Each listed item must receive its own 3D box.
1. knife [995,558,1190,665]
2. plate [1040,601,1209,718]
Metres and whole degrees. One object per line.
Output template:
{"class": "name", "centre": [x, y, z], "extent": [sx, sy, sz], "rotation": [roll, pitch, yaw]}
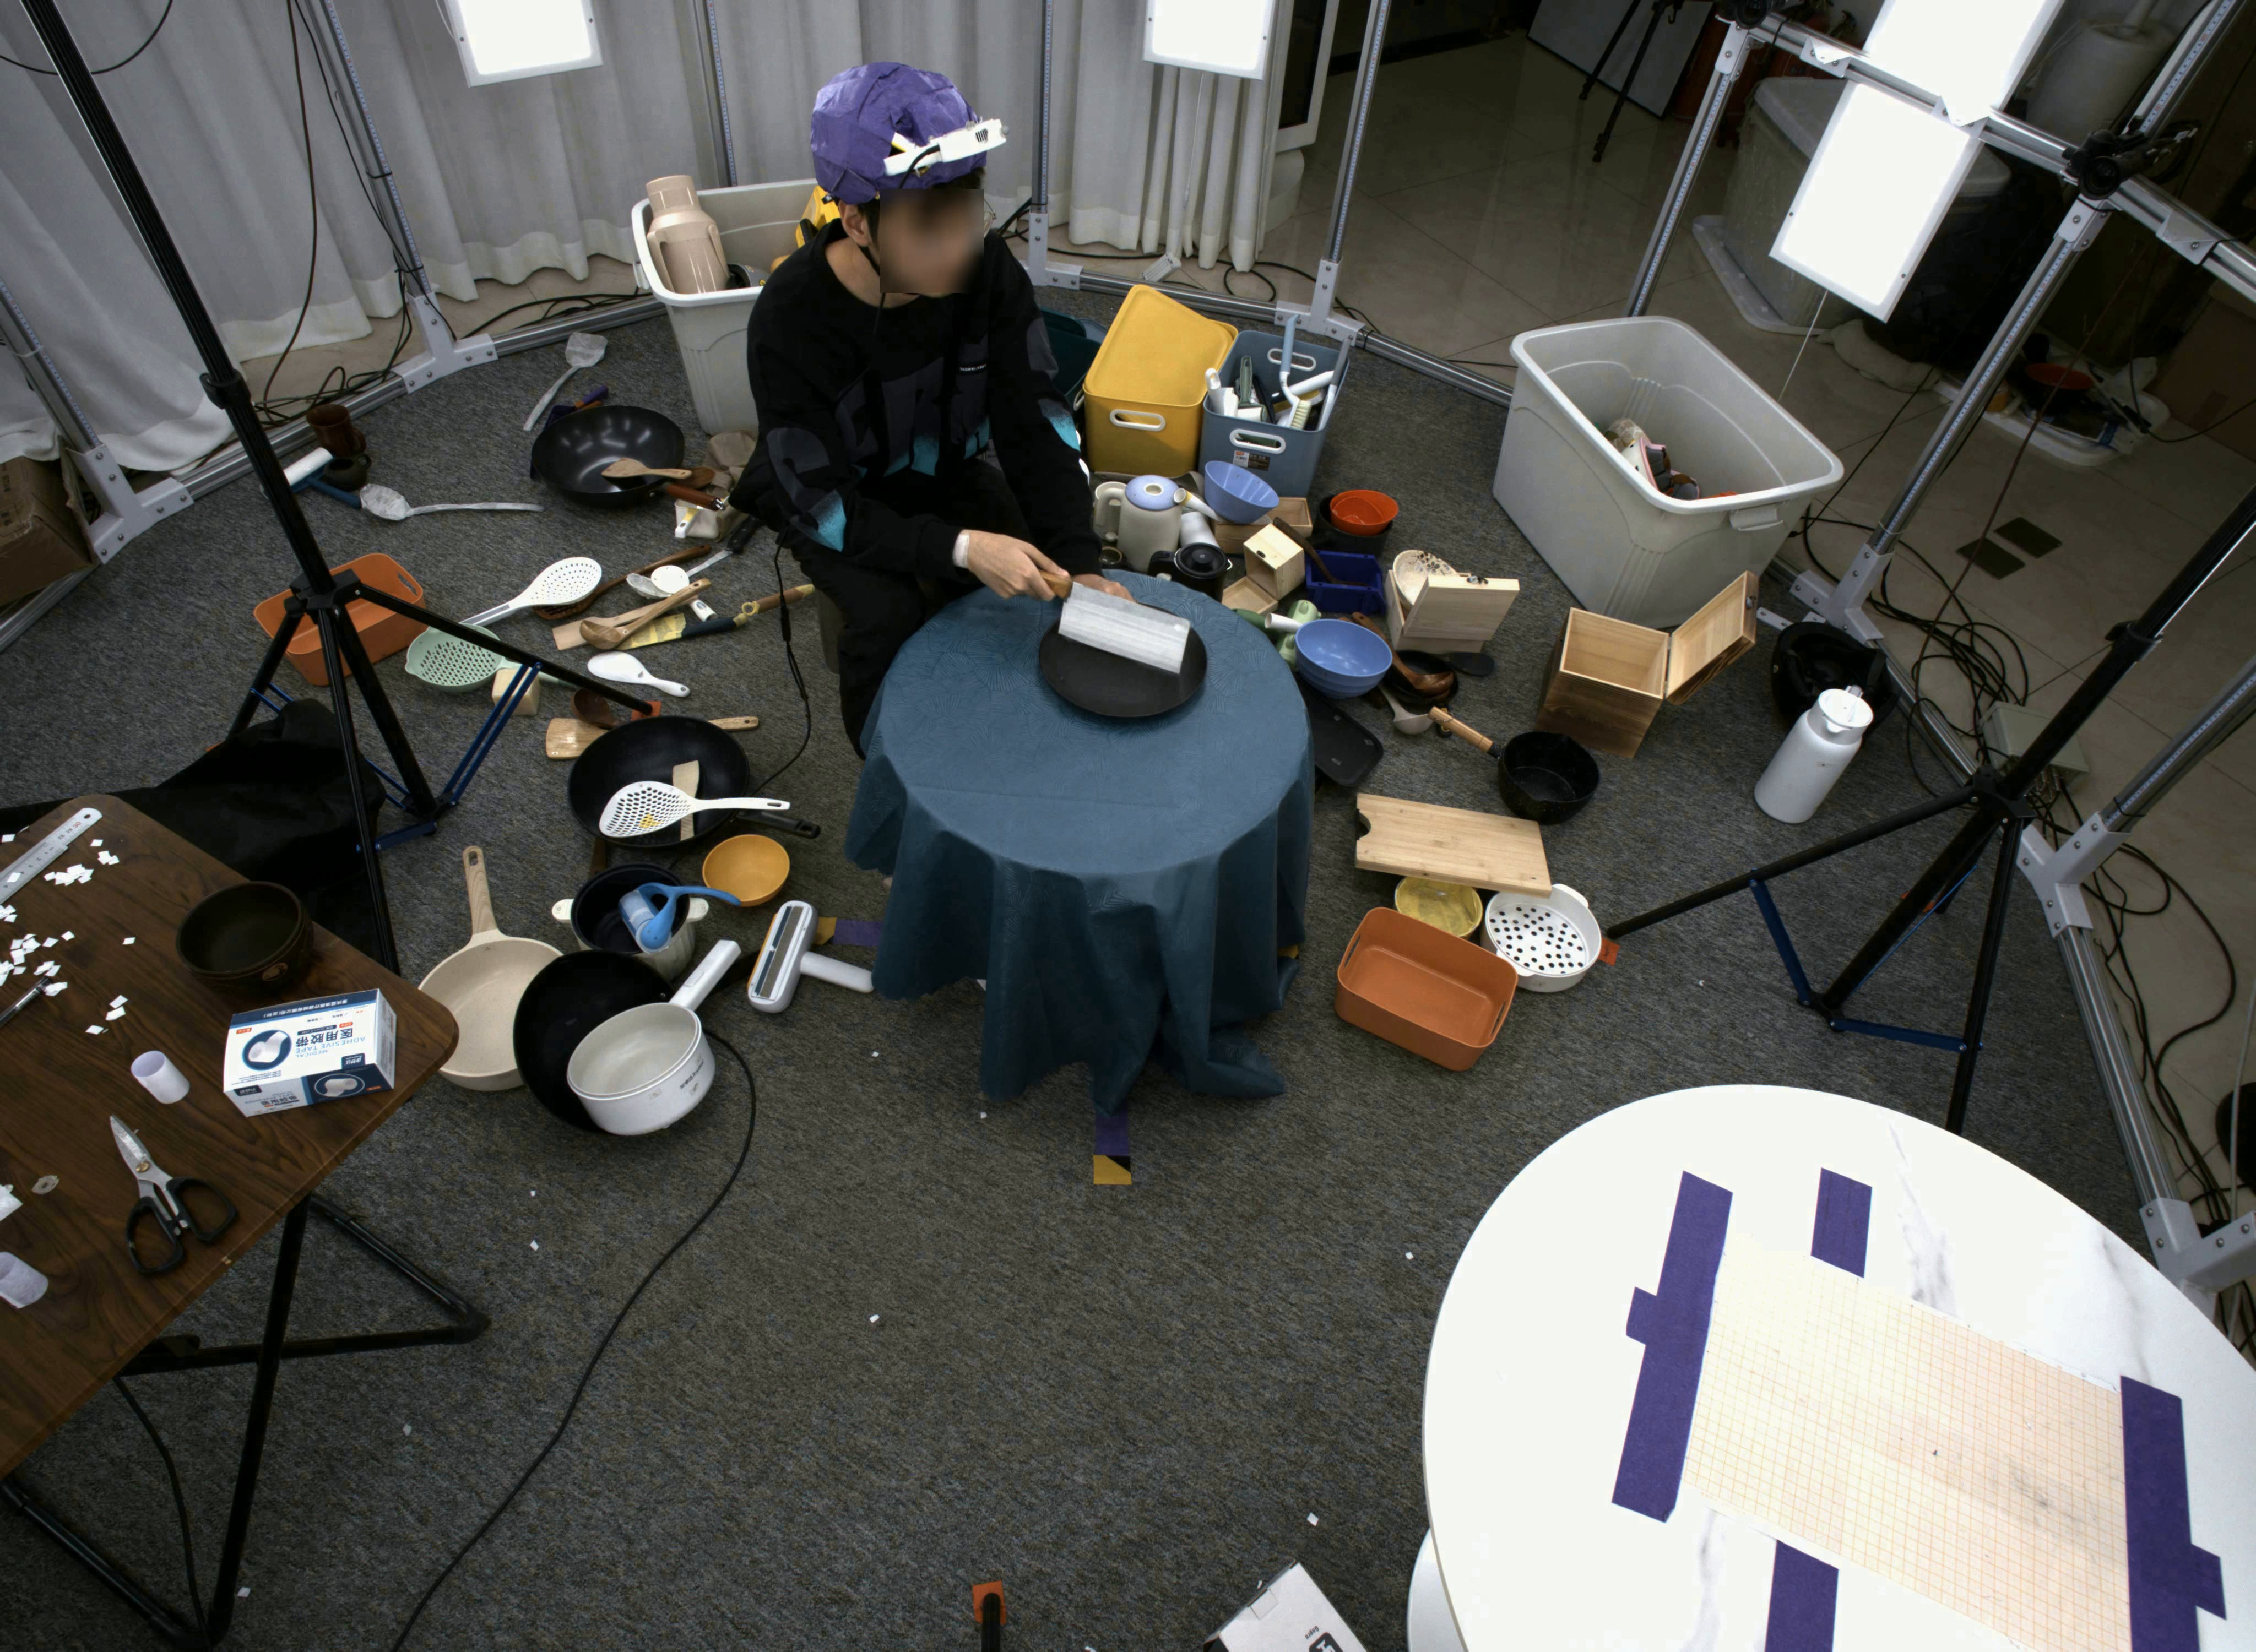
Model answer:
{"class": "knife", "centre": [-0.056, -0.305, 1.851], "extent": [0.307, 0.091, 0.021], "rotation": [21, 38, 13]}
{"class": "plate", "centre": [-0.004, -0.238, 1.859], "extent": [0.244, 0.023, 0.250], "rotation": [2, 49, -2]}
